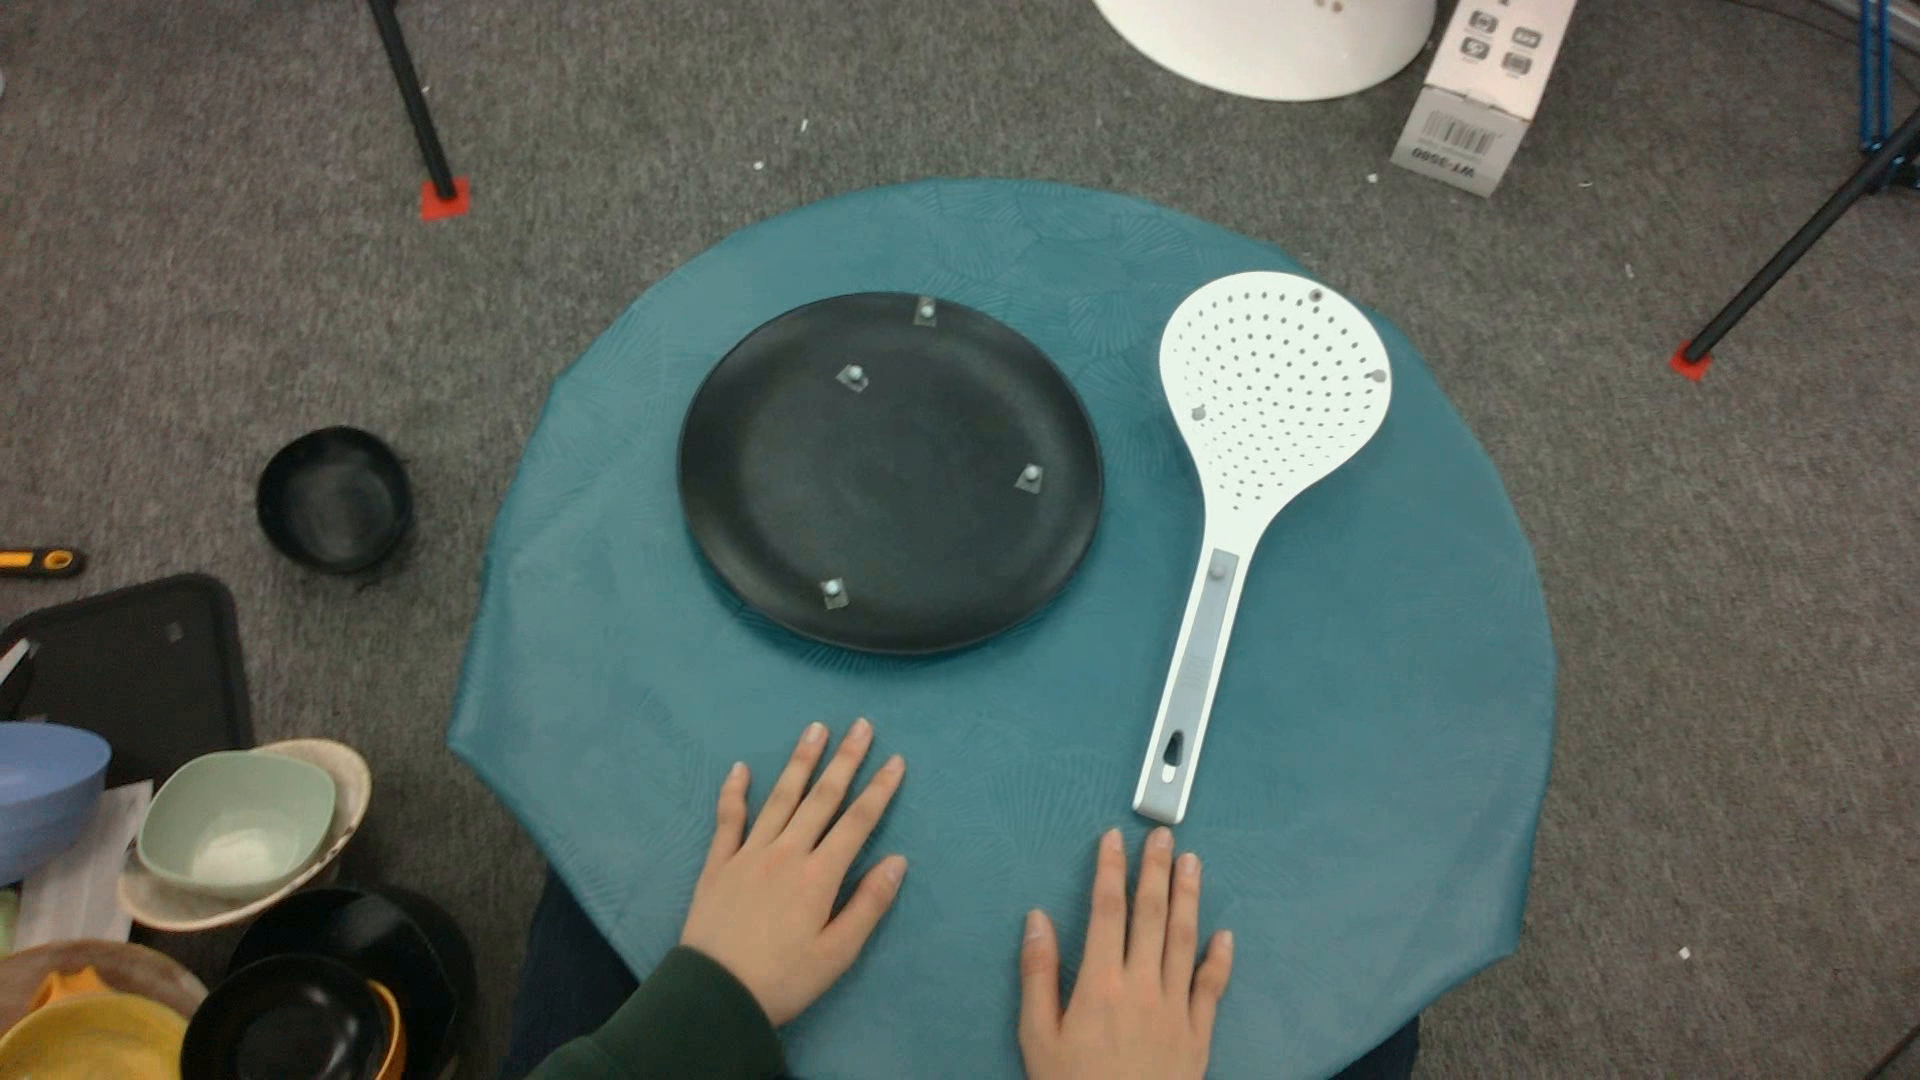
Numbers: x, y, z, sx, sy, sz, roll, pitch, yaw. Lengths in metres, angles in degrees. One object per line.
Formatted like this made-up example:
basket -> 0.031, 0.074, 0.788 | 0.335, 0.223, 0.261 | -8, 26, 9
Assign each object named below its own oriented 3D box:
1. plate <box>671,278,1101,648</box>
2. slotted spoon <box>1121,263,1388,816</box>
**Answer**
plate -> -0.041, -0.047, 0.789 | 0.244, 0.023, 0.245 | 3, 62, -5
slotted spoon -> 0.152, -0.011, 0.780 | 0.136, 0.045, 0.351 | 18, 62, 5
